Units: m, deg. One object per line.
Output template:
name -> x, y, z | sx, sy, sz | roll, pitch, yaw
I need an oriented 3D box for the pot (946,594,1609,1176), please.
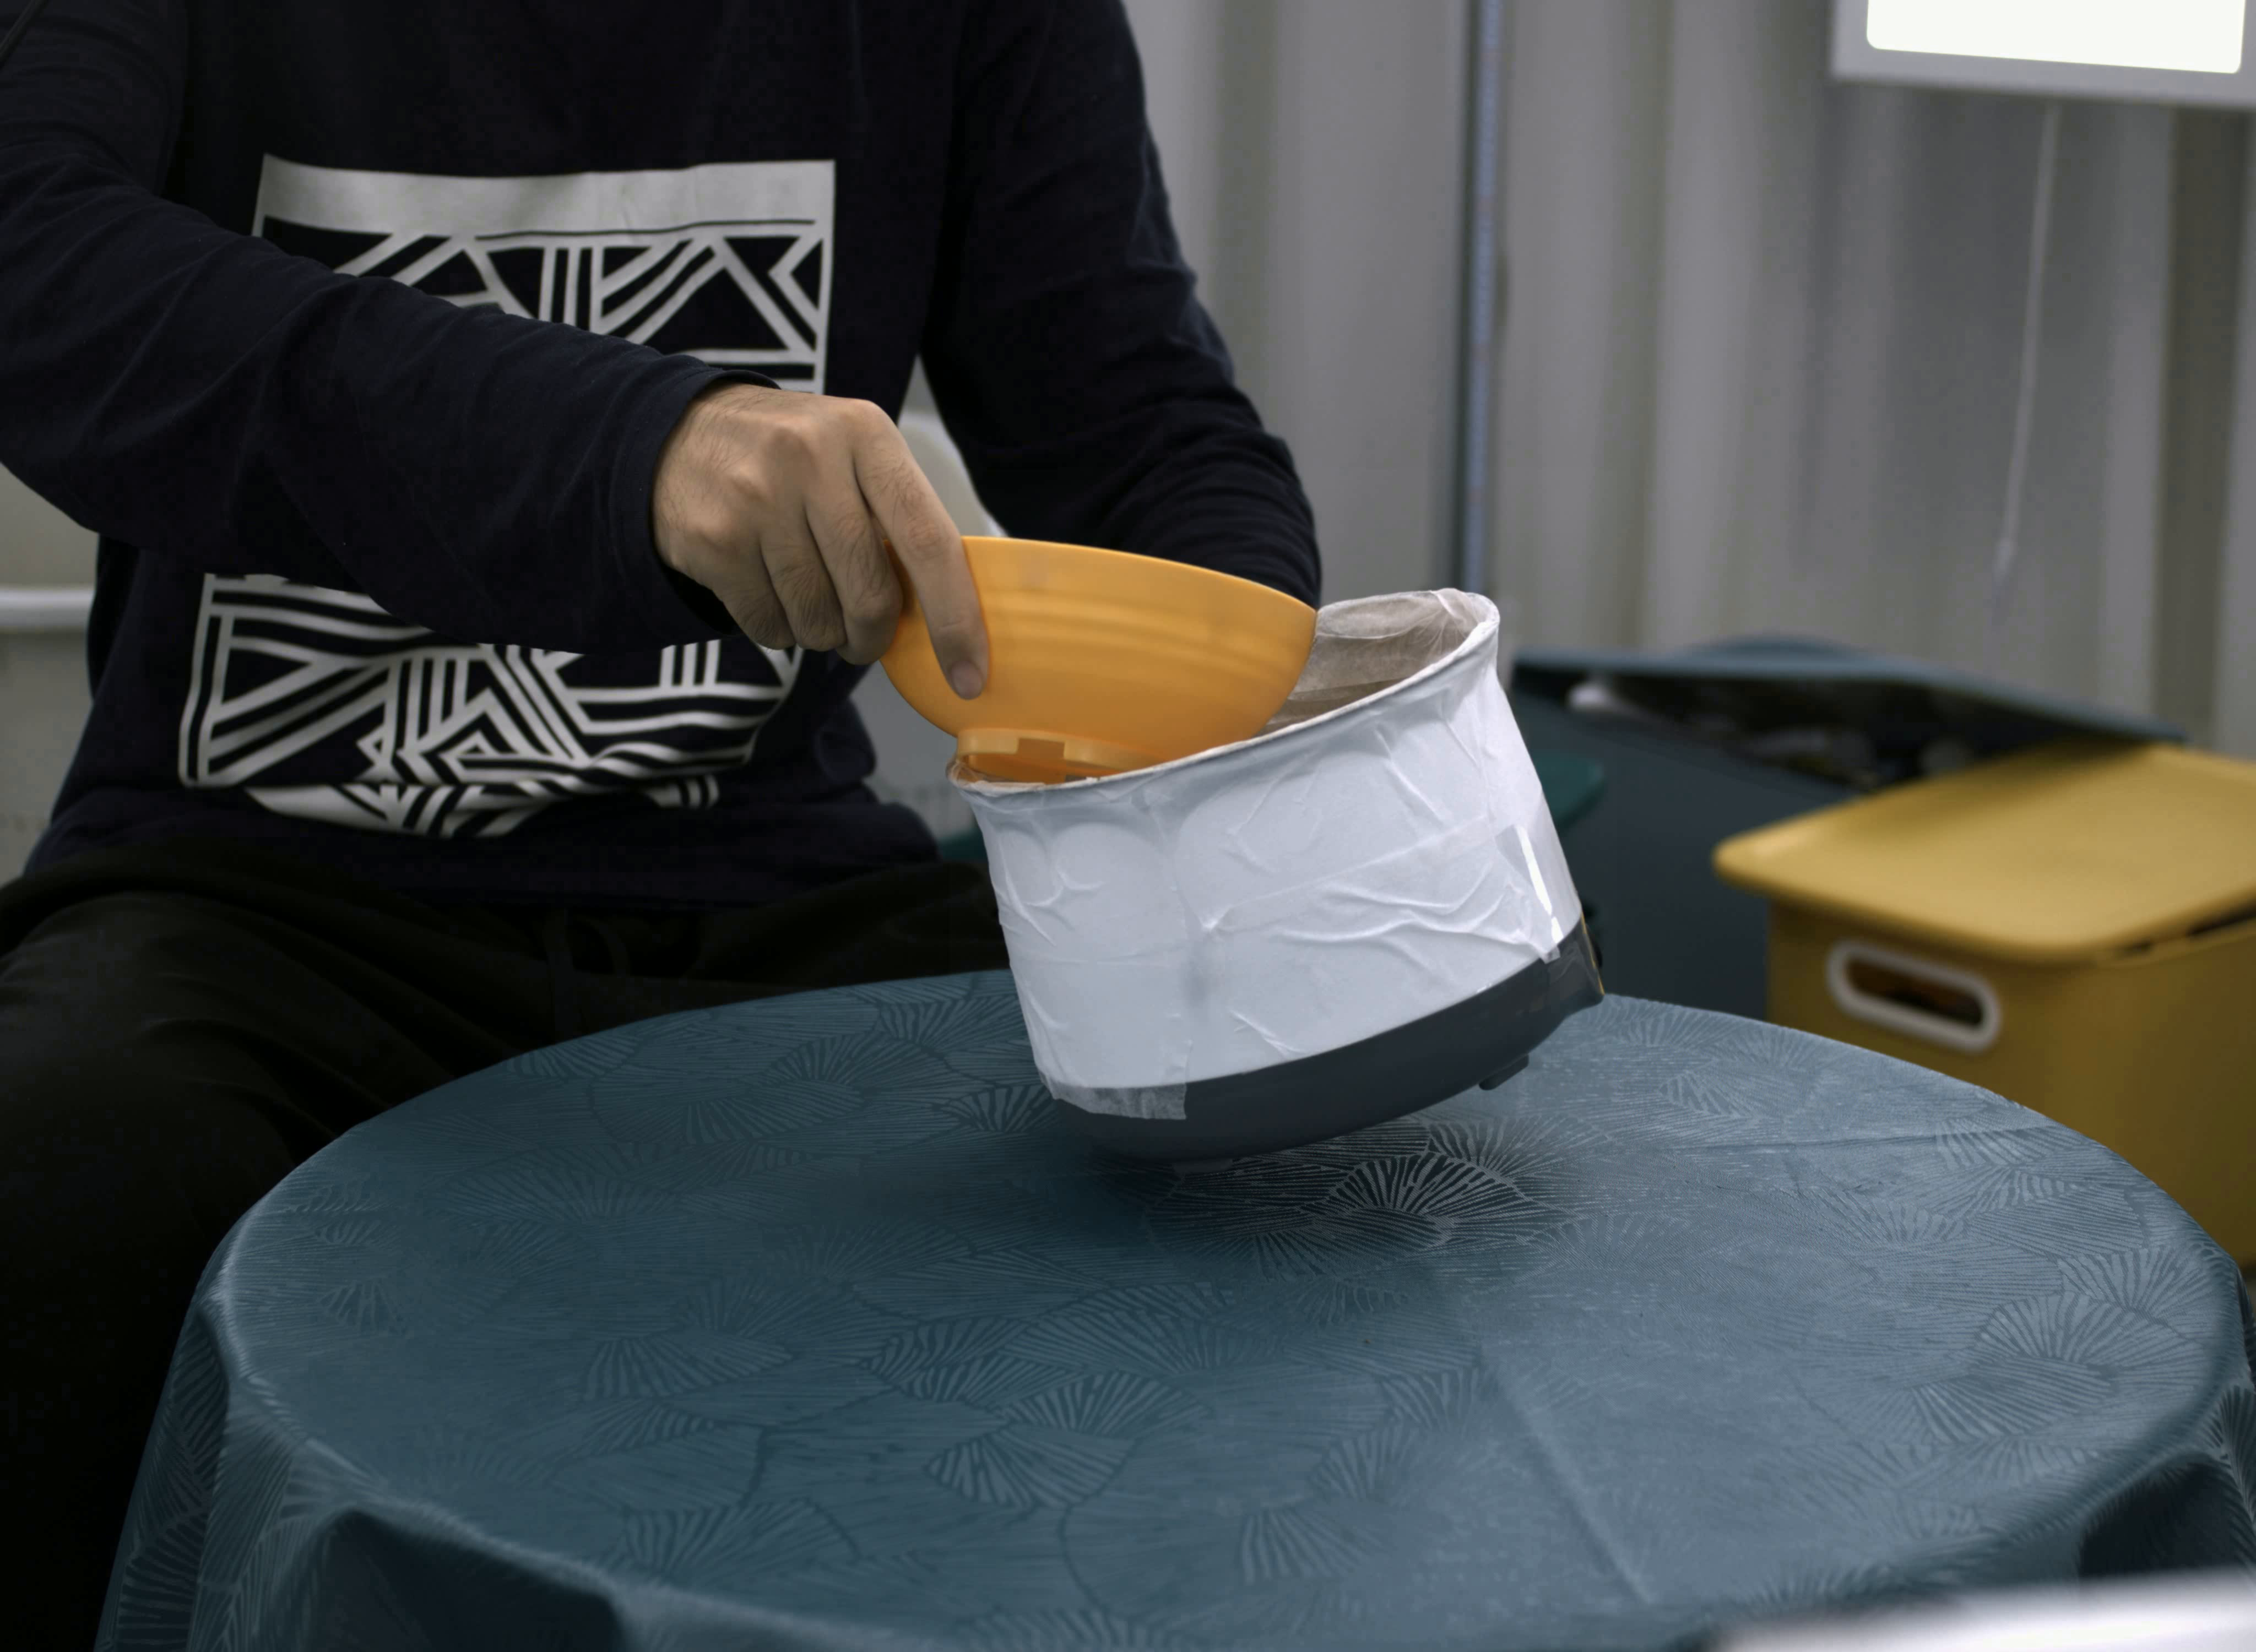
pot -> 0.045, 0.013, 1.650 | 0.178, 0.137, 0.232 | -17, 11, -2

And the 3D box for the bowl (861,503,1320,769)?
bowl -> -0.017, -0.051, 1.605 | 0.145, 0.060, 0.145 | 12, -5, 2
